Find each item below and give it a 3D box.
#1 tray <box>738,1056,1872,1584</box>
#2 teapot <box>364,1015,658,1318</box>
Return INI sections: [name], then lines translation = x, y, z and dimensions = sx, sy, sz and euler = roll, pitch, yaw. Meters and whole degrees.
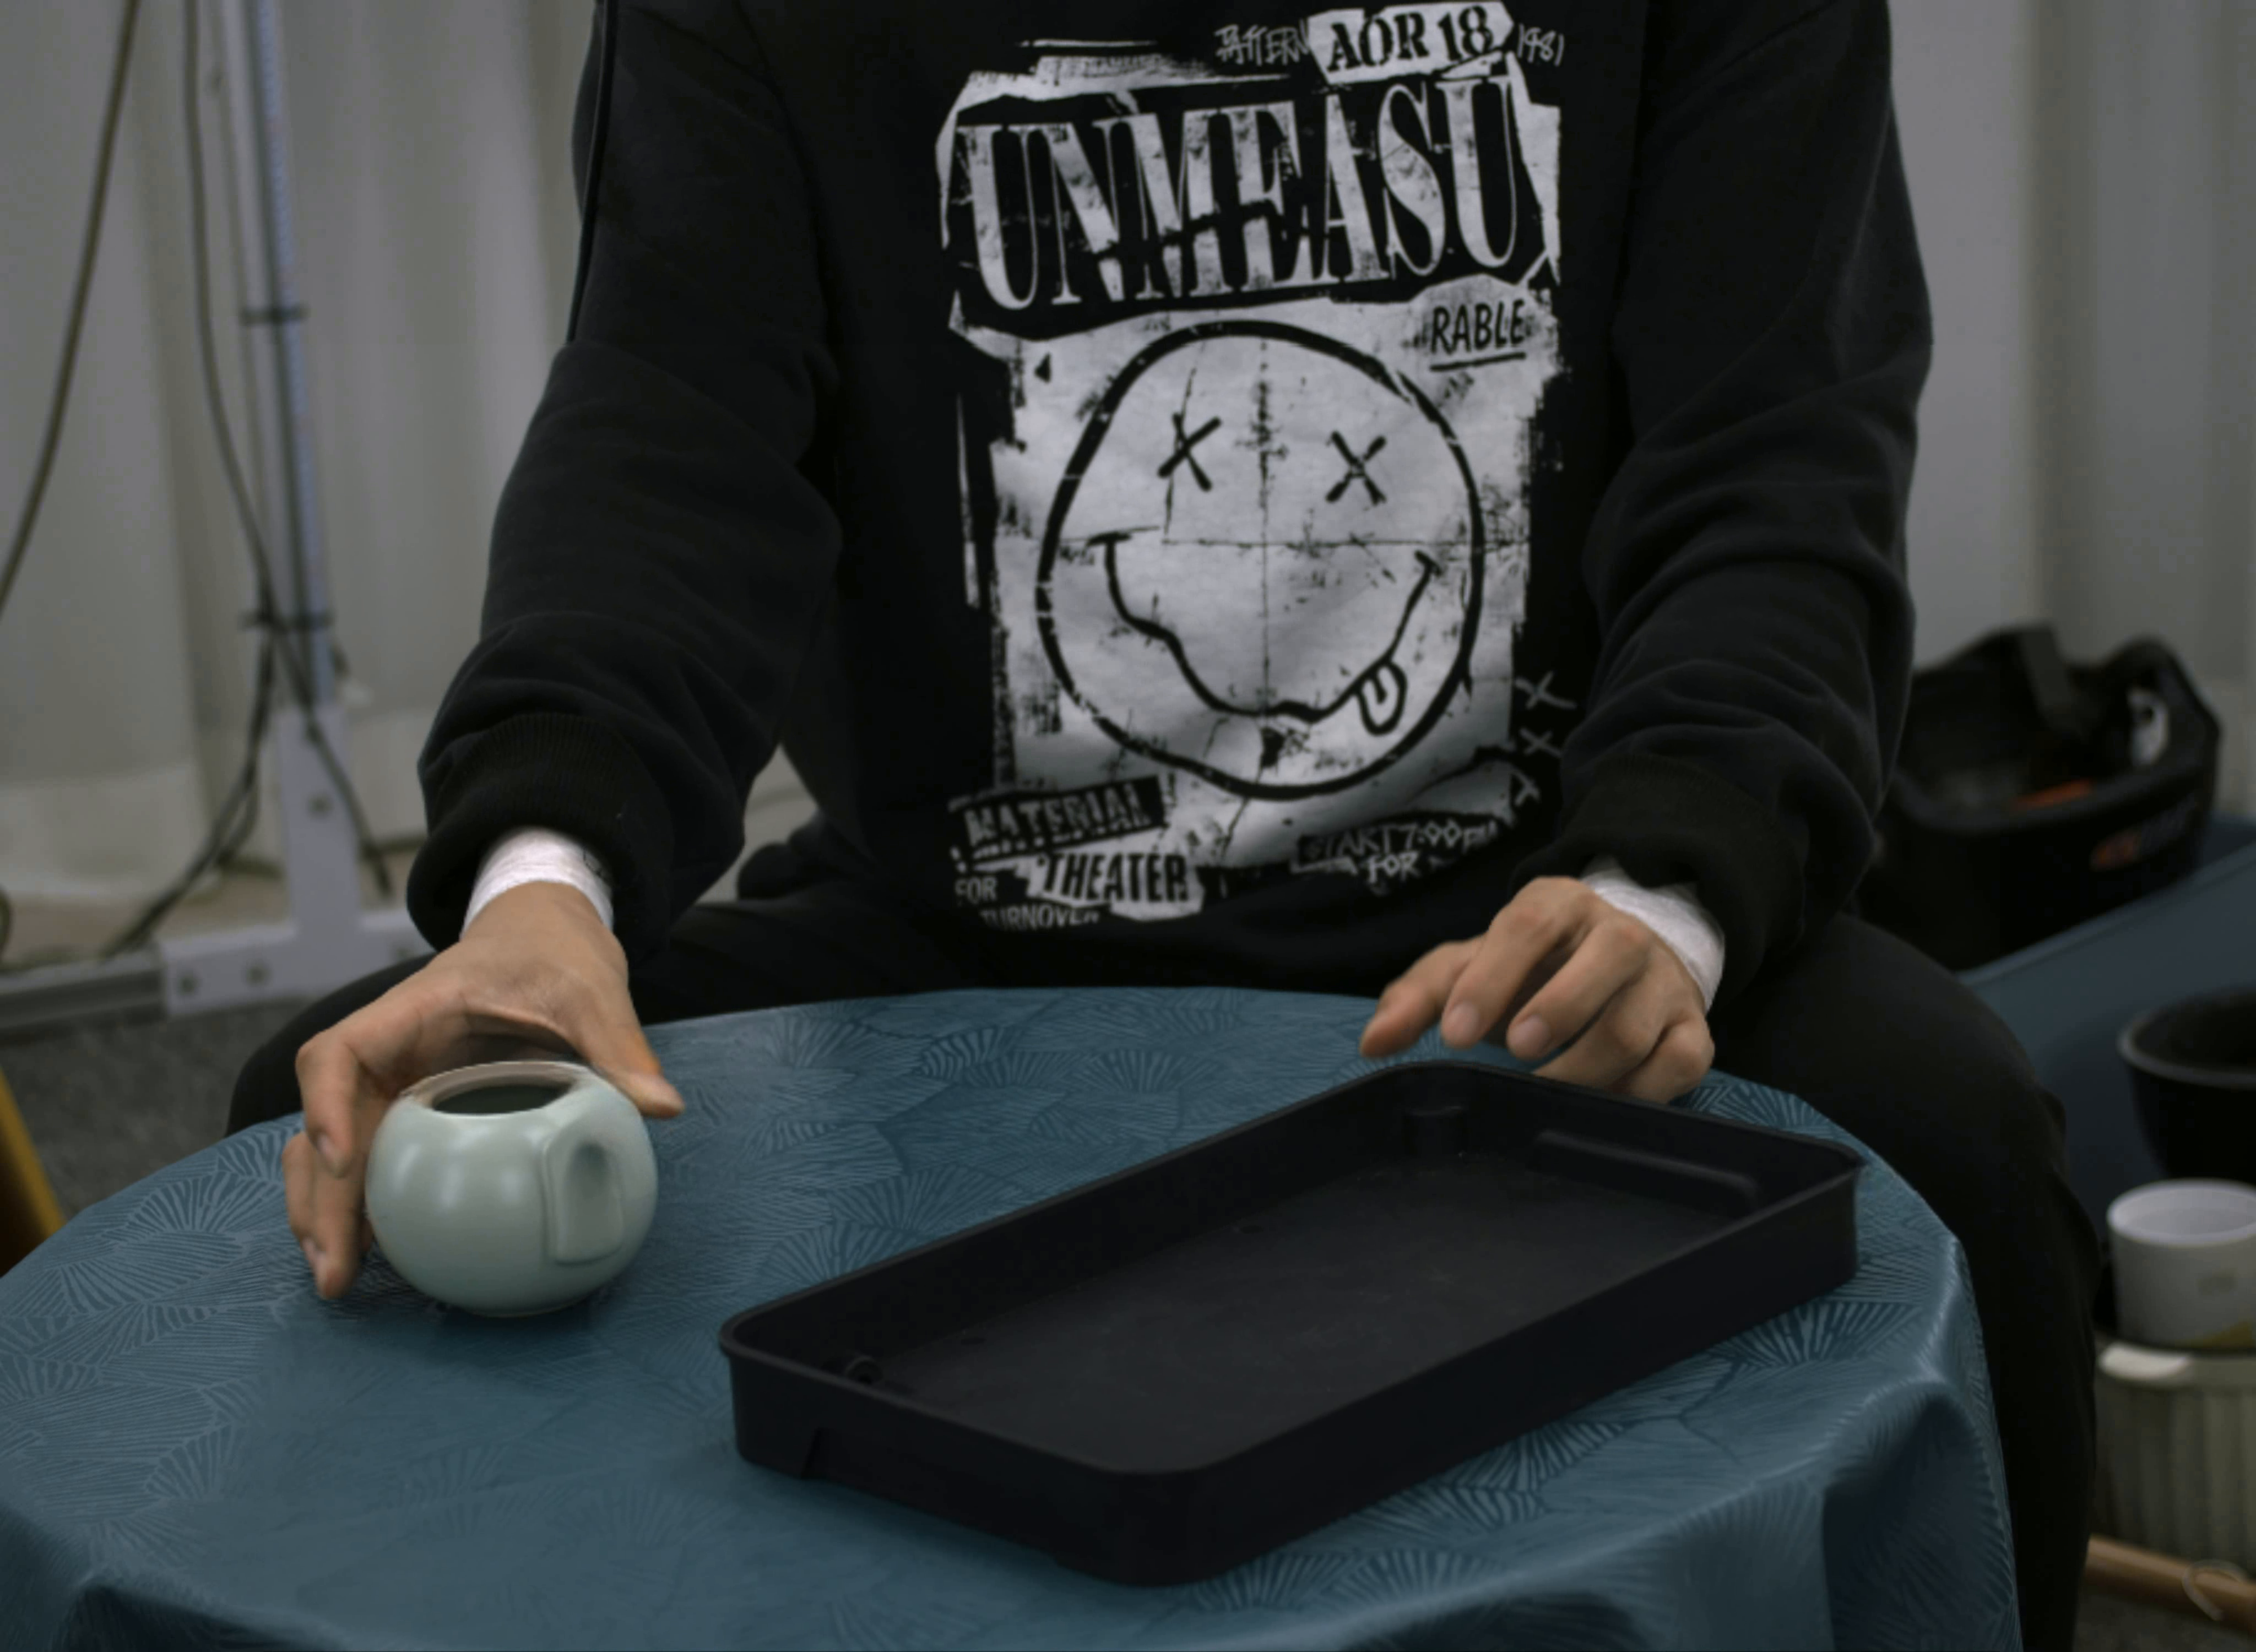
[tray]
translation = 0.056, 0.134, 1.562
dimensions = 0.185, 0.037, 0.317
euler = 10, 20, 41
[teapot]
translation = -0.185, 0.106, 1.641
dimensions = 0.088, 0.074, 0.145
euler = -12, 18, -31
